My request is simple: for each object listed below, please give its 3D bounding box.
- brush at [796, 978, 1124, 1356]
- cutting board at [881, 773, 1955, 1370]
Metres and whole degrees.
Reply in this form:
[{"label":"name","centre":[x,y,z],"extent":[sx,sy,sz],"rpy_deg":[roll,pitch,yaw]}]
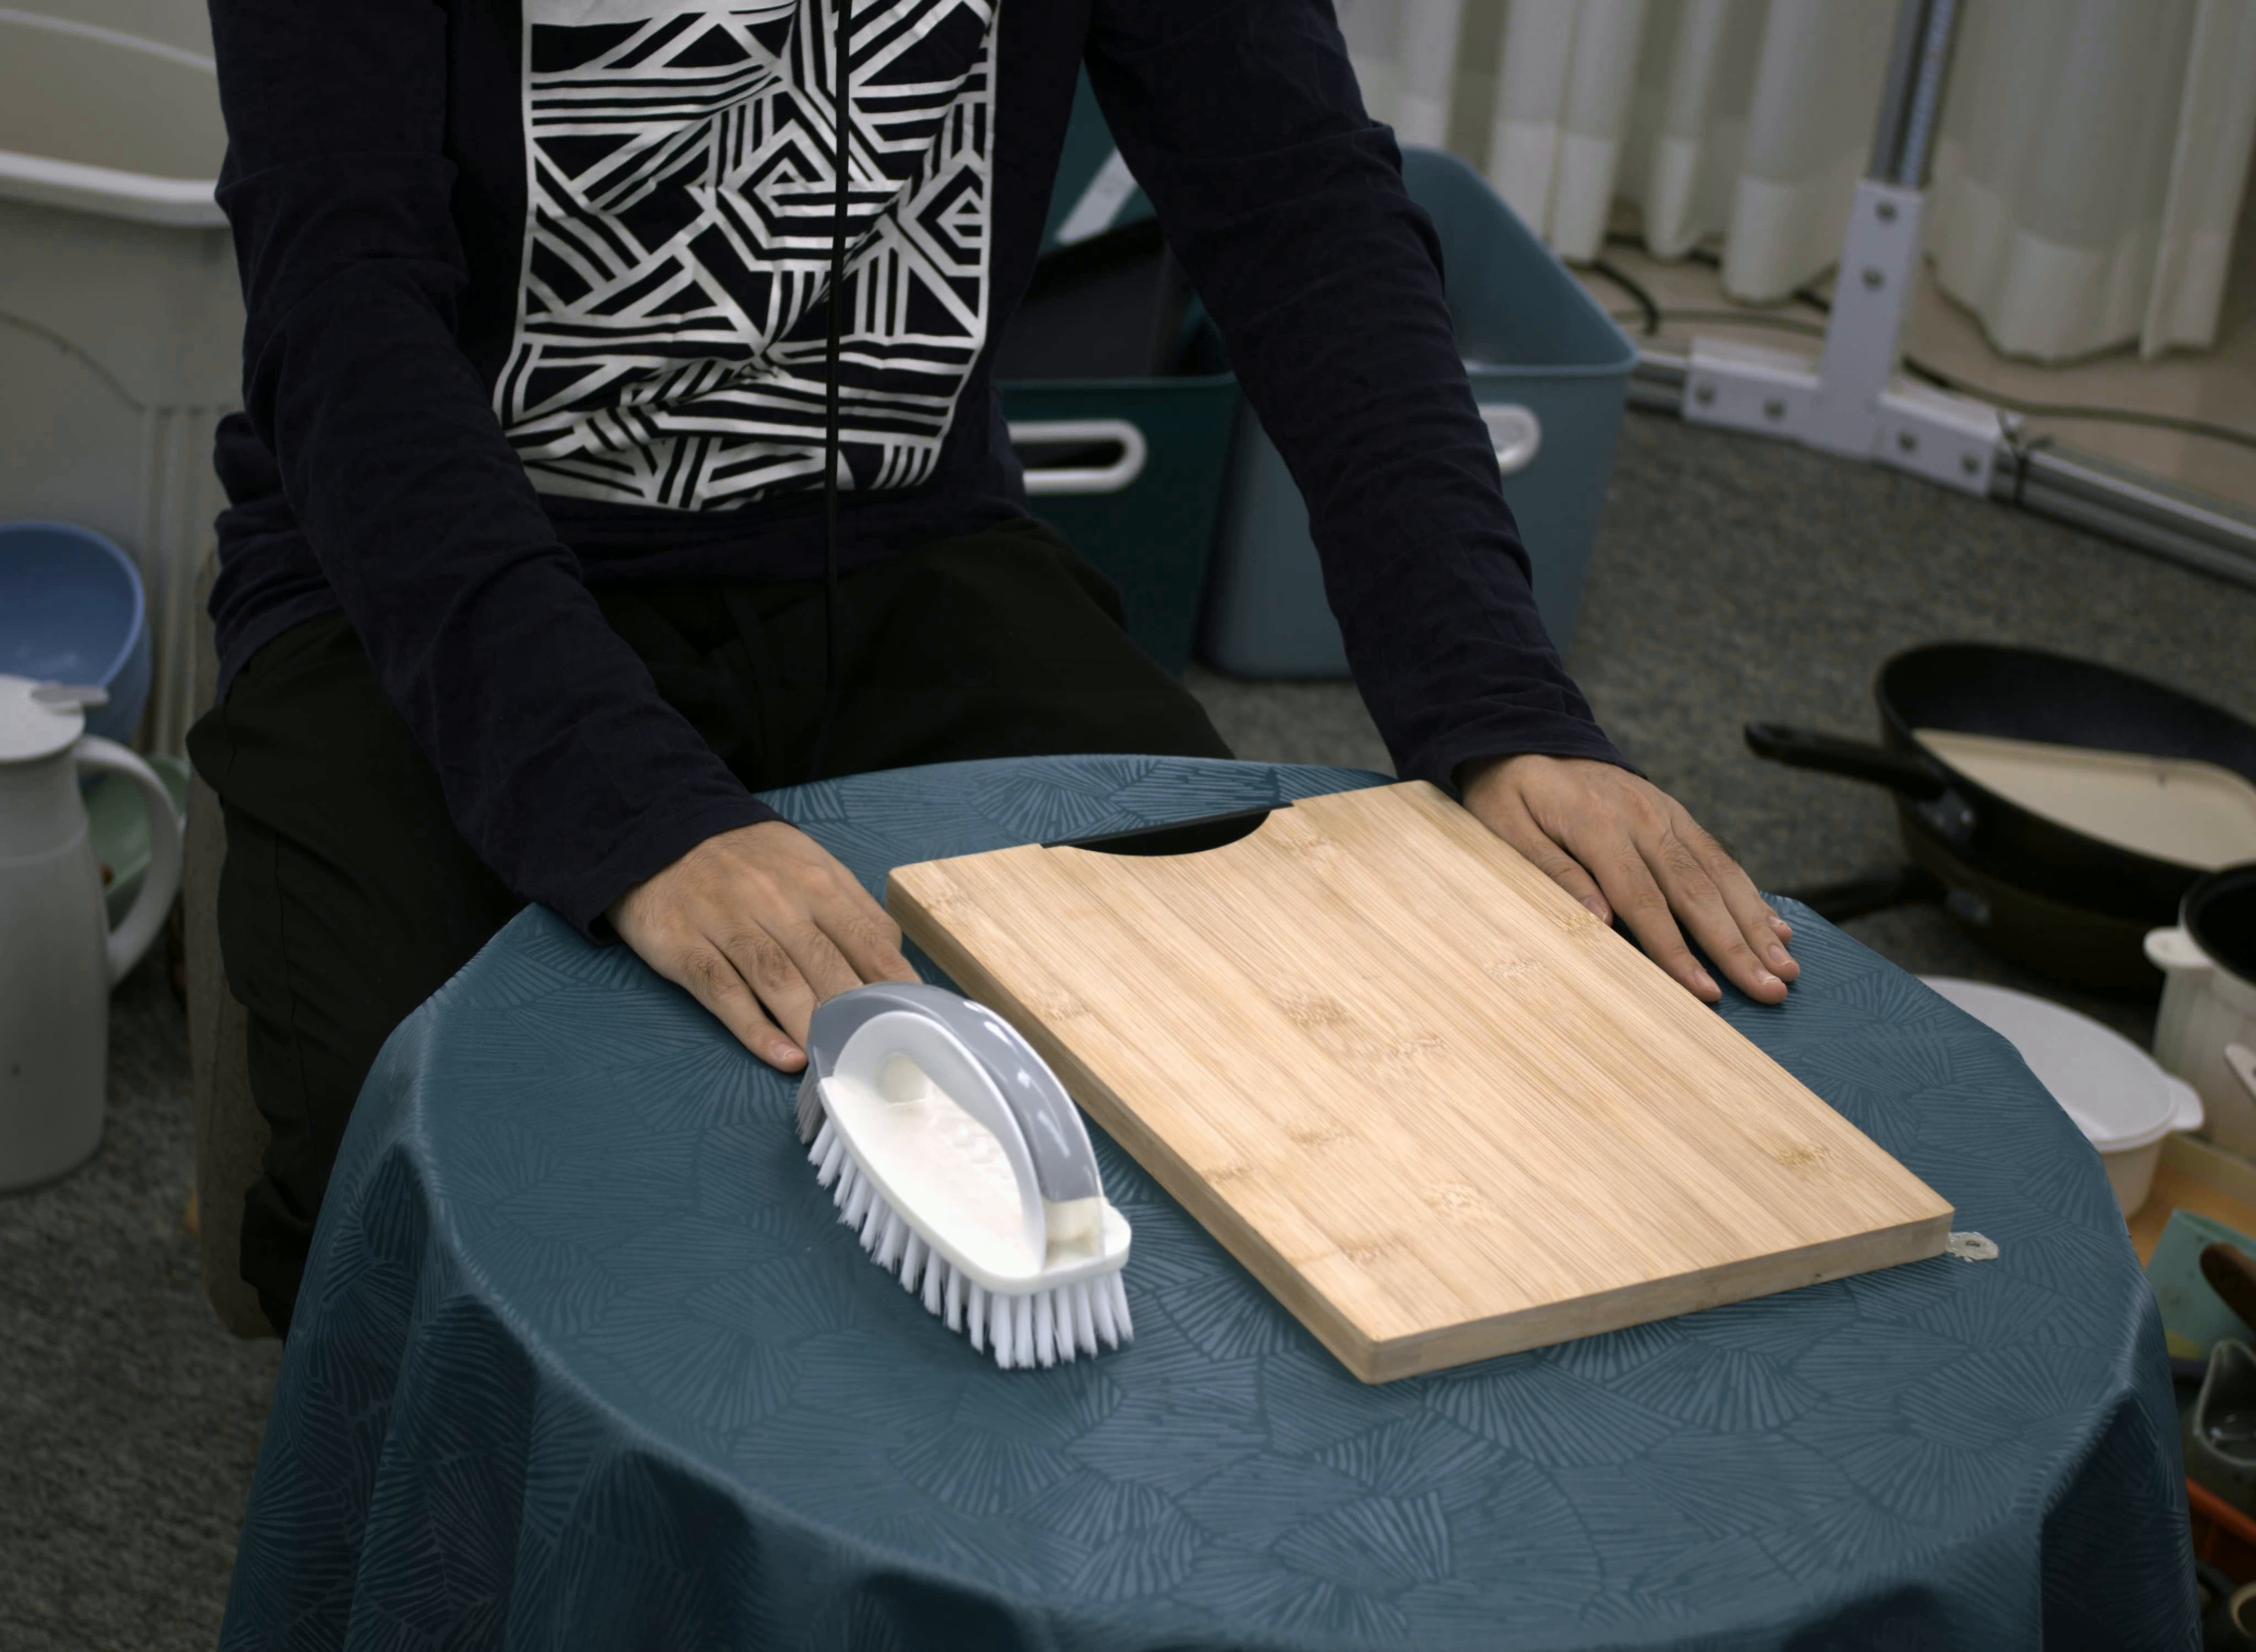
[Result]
[{"label":"brush","centre":[-0.062,0.096,1.746],"extent":[0.061,0.094,0.177],"rpy_deg":[-10,29,-30]},{"label":"cutting board","centre":[0.095,0.080,1.897],"extent":[0.249,0.023,0.352],"rpy_deg":[-10,31,-29]}]
